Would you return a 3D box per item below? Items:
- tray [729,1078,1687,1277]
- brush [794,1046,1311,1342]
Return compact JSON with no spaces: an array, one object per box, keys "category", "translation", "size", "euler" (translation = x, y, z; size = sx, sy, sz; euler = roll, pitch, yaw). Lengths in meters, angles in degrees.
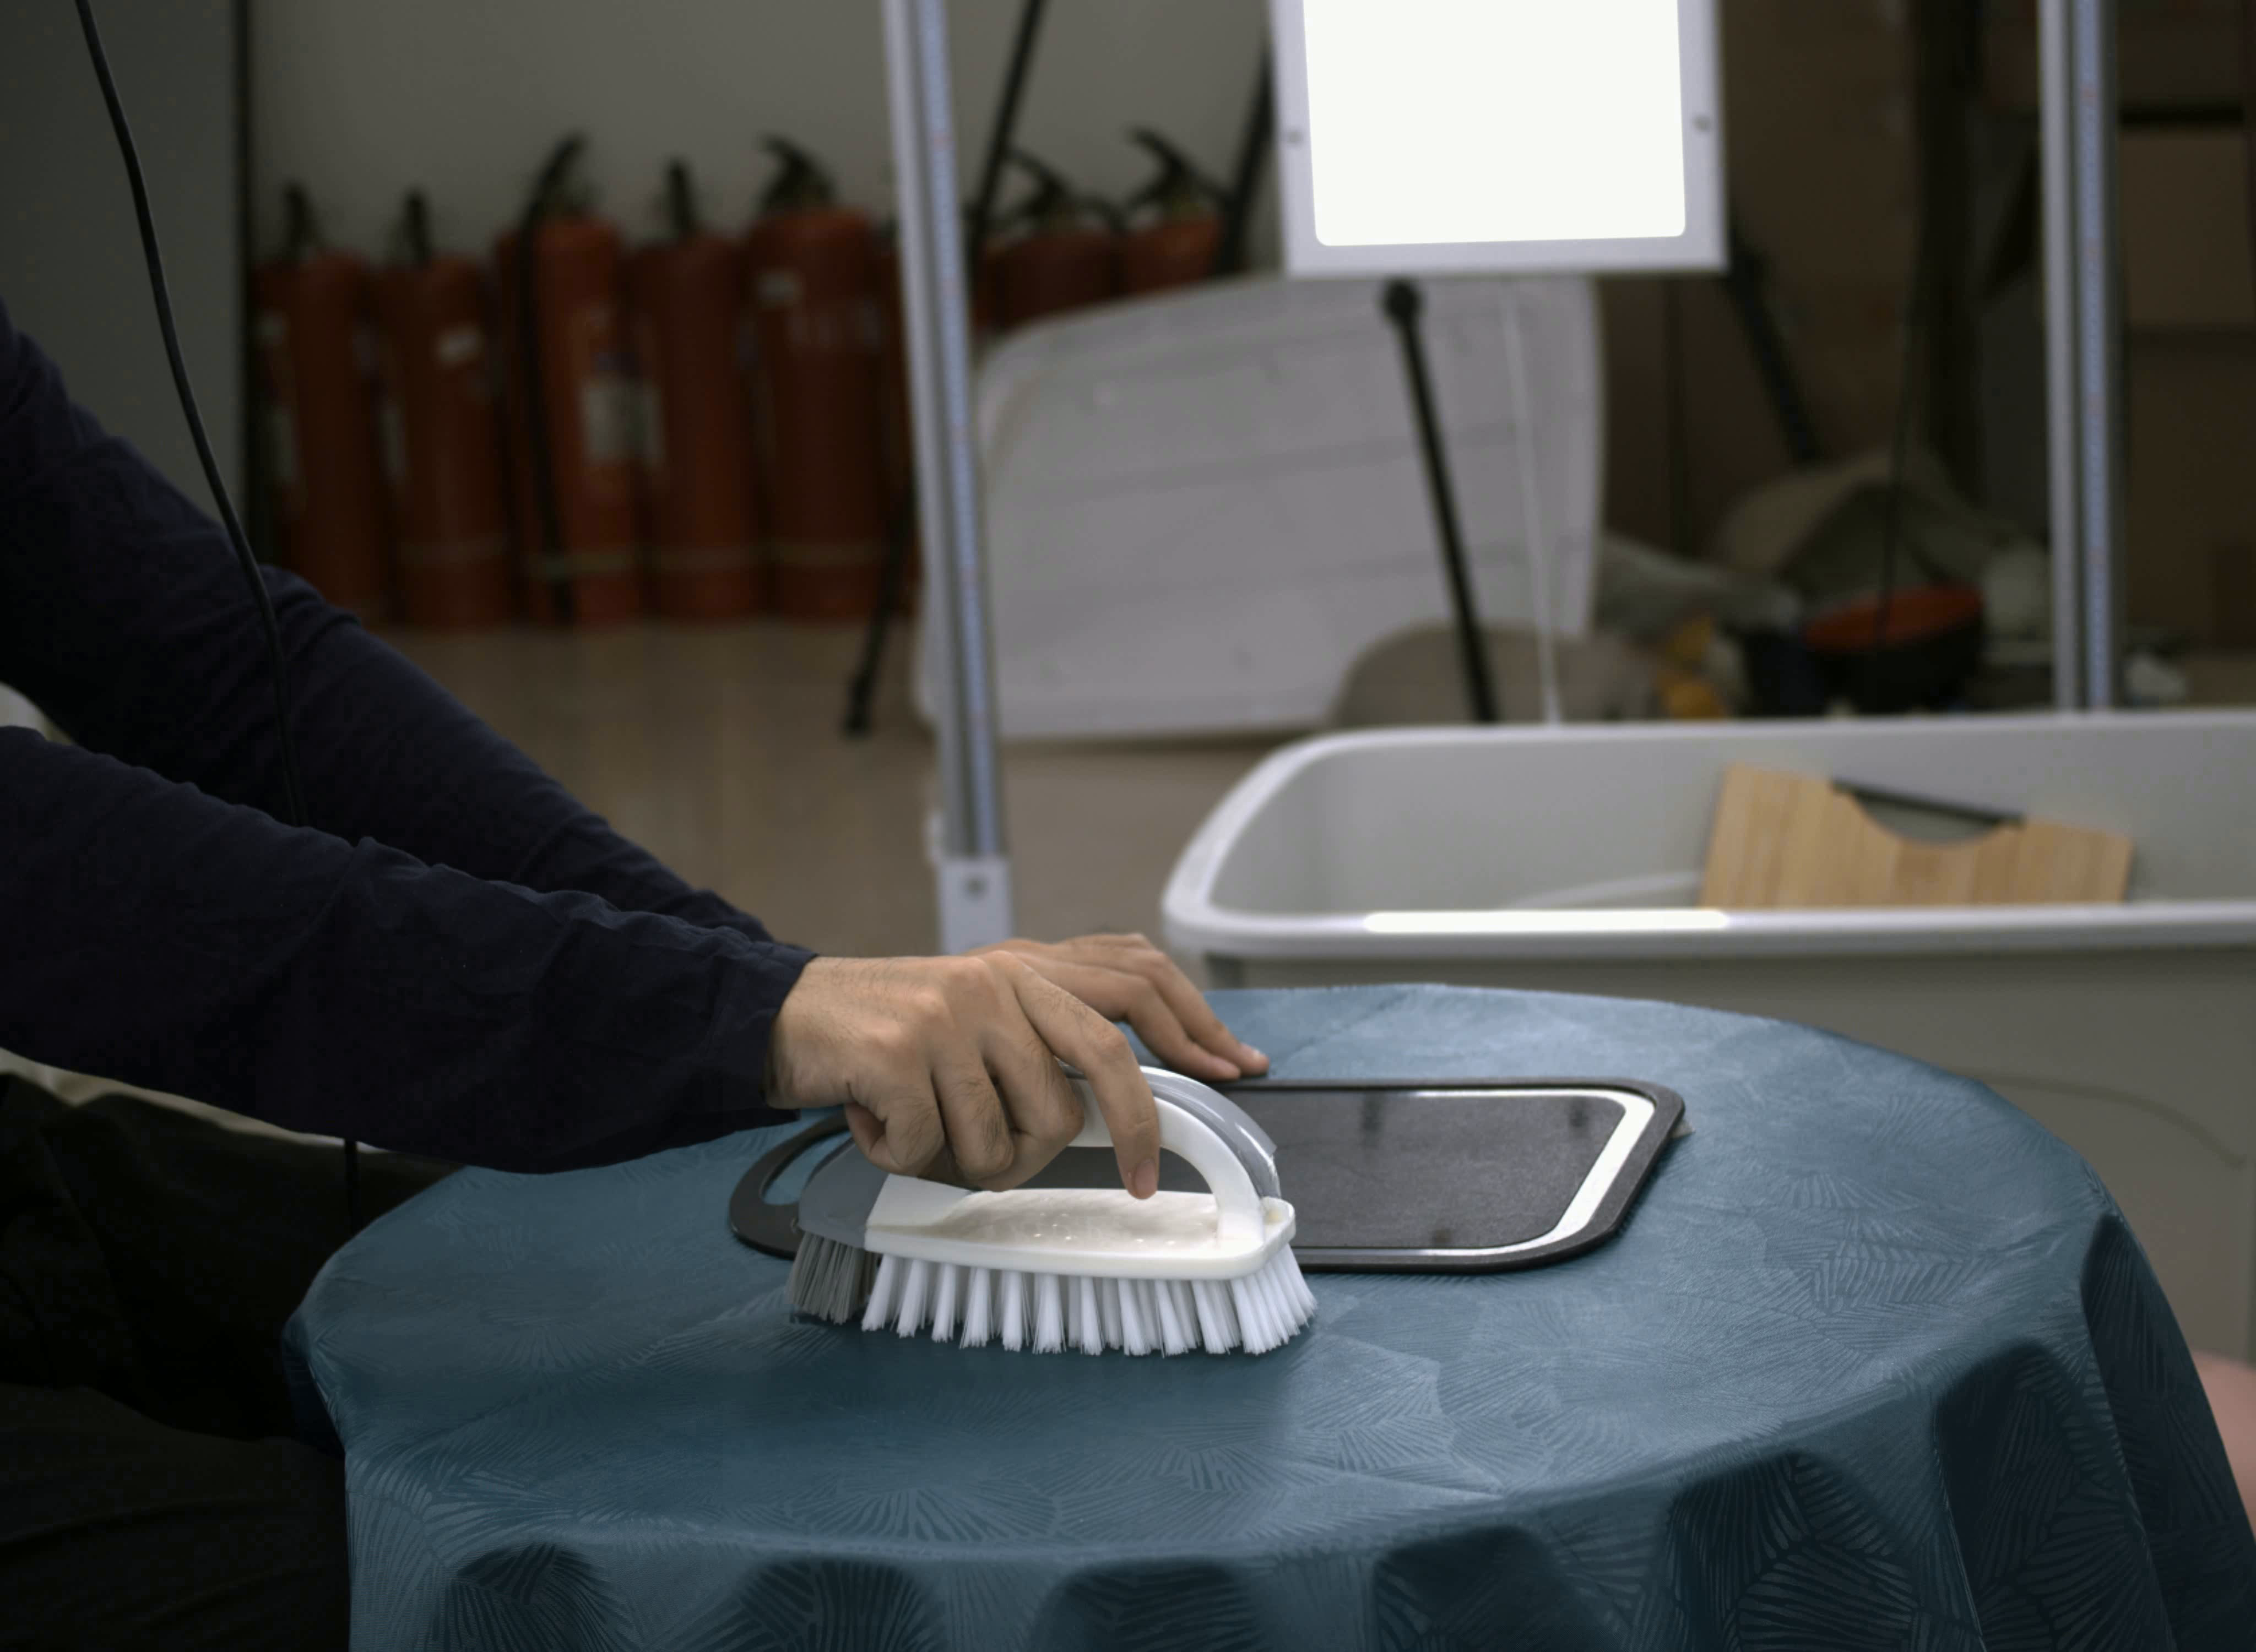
[{"category":"tray","translation":[0.023,0.118,1.911],"size":[0.329,0.010,0.207],"euler":[-1,14,19]},{"category":"brush","translation":[-0.032,0.117,1.756],"size":[0.178,0.094,0.060],"euler":[-1,13,25]}]
